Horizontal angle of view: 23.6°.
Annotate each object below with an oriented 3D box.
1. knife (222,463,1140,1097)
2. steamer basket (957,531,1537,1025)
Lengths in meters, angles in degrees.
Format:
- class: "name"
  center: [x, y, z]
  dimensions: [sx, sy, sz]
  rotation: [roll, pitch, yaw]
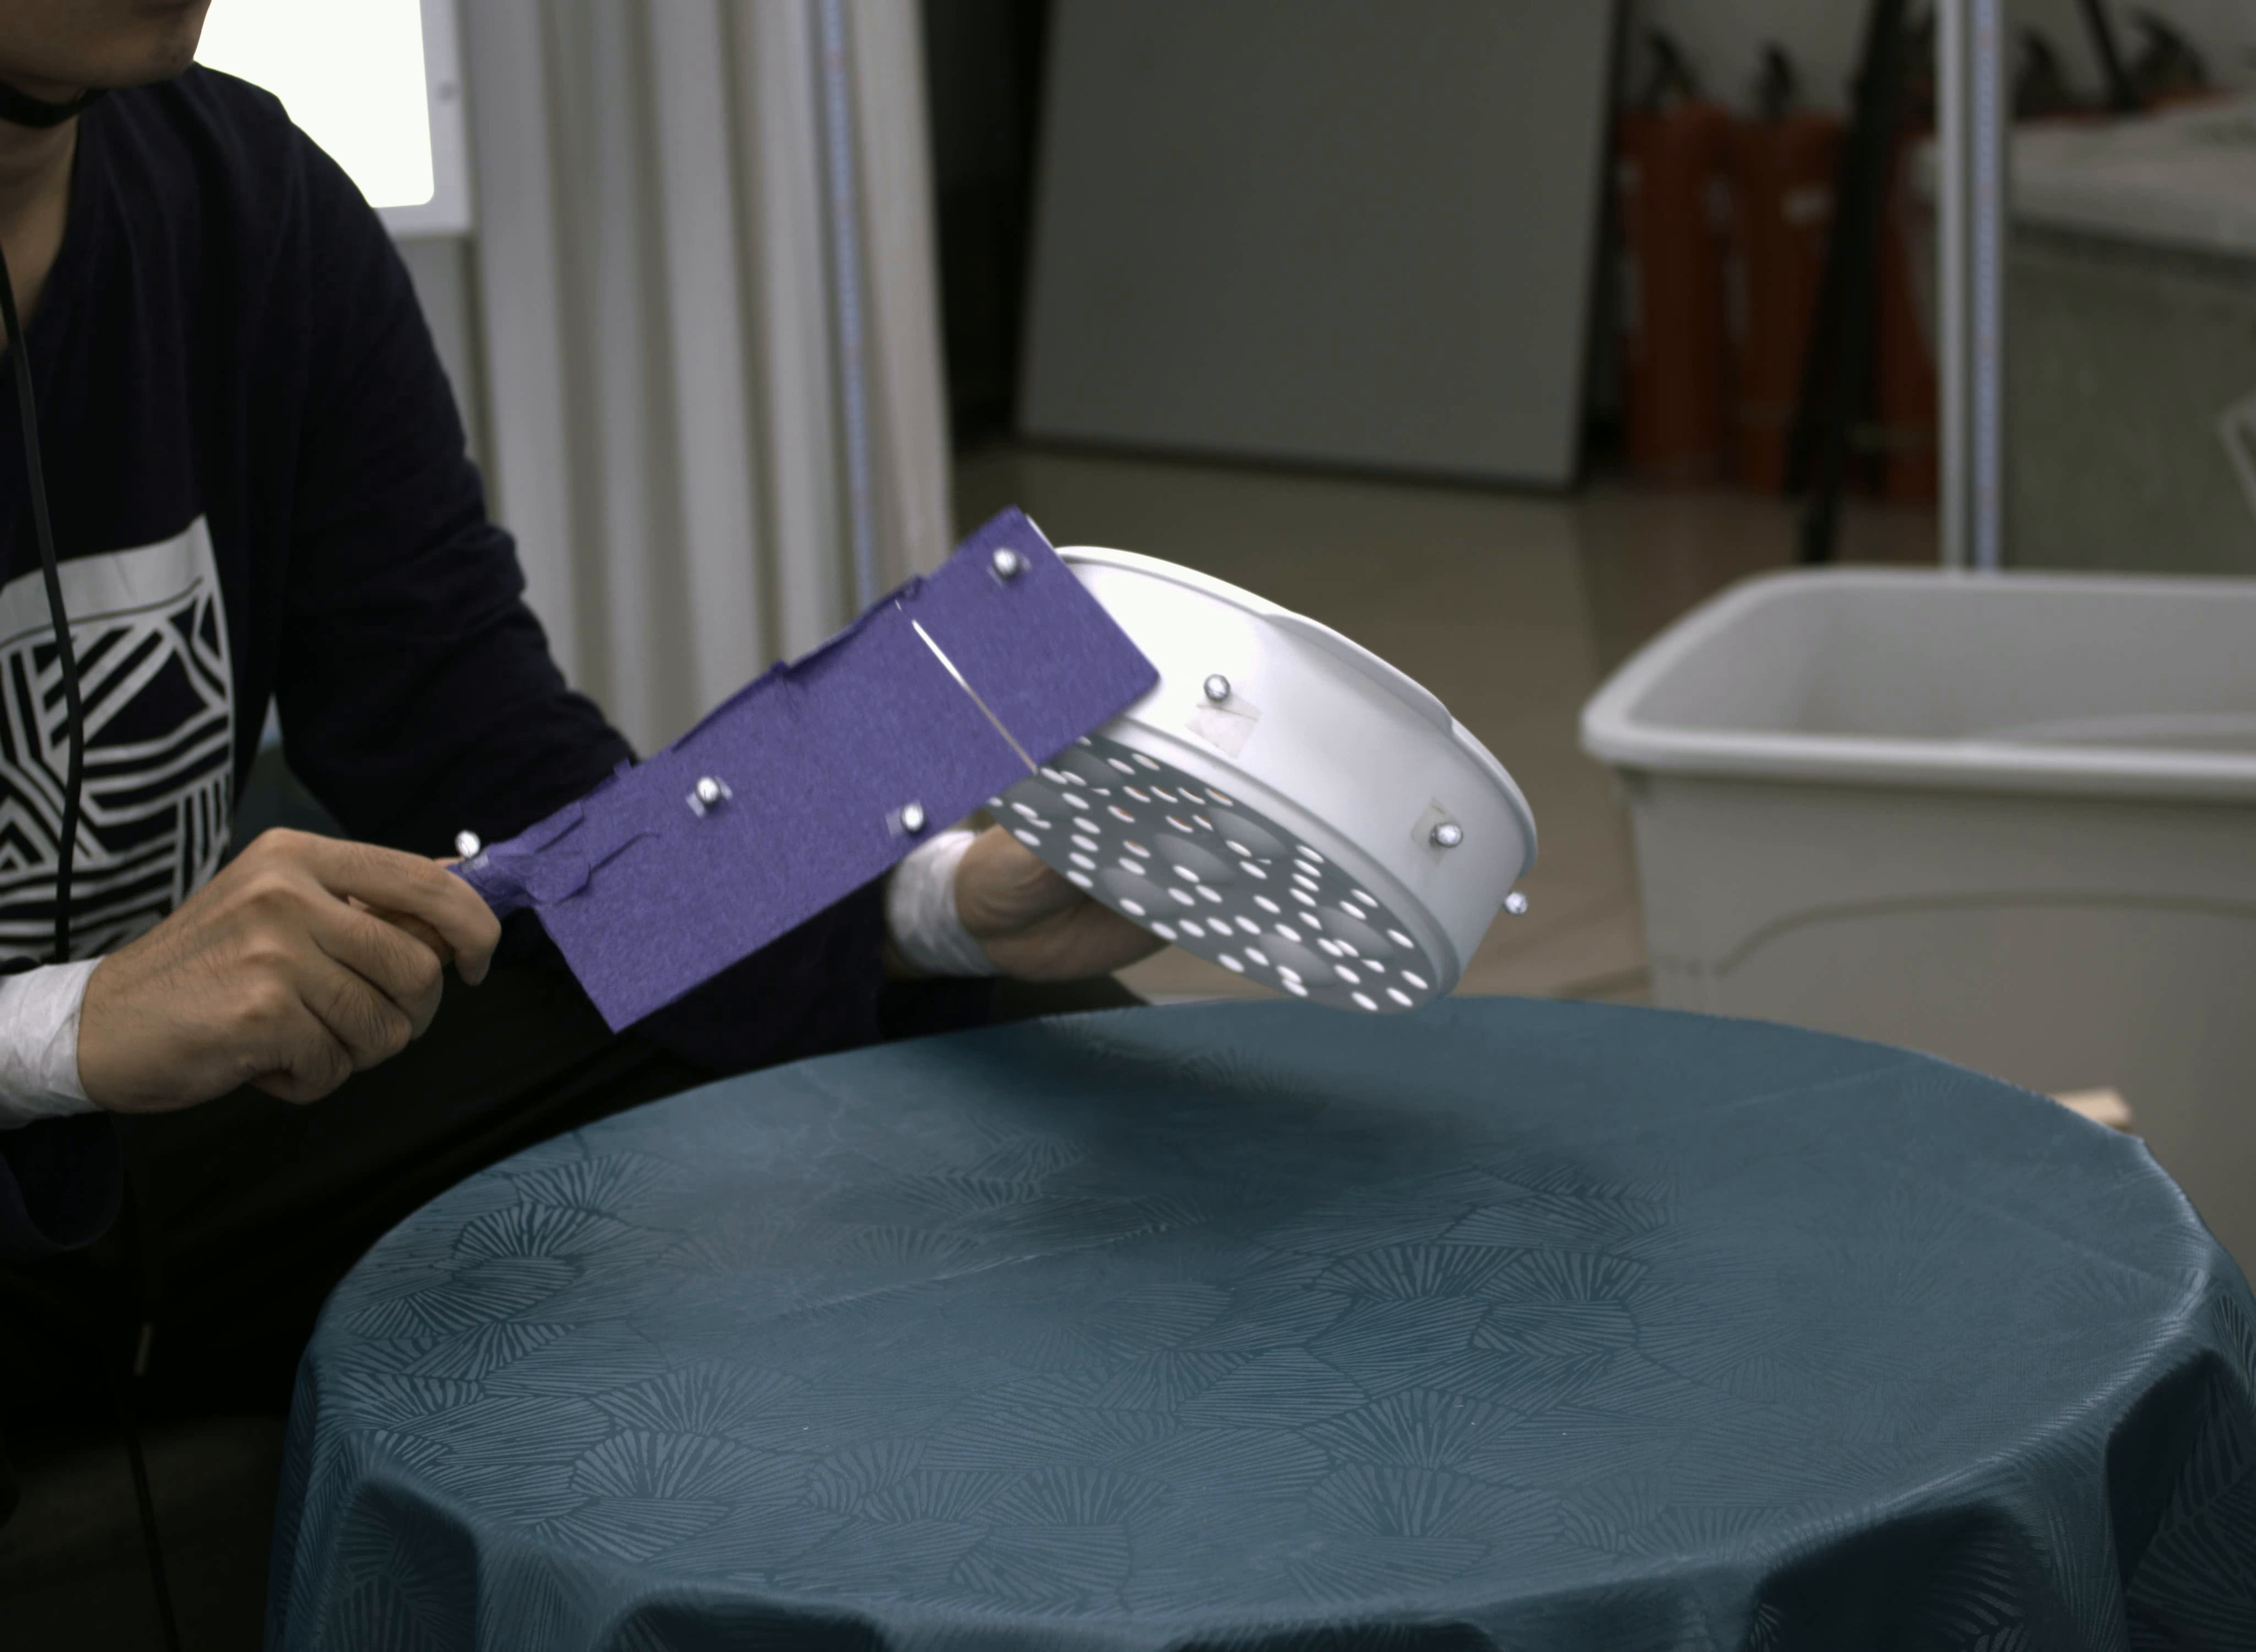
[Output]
- class: "knife"
  center: [-0.140, 0.002, 1.714]
  dimensions: [0.313, 0.032, 0.105]
  rotation: [-36, 52, -4]
- class: "steamer basket"
  center: [0.034, -0.011, 1.783]
  dimensions: [0.200, 0.069, 0.232]
  rotation: [33, -20, -6]
